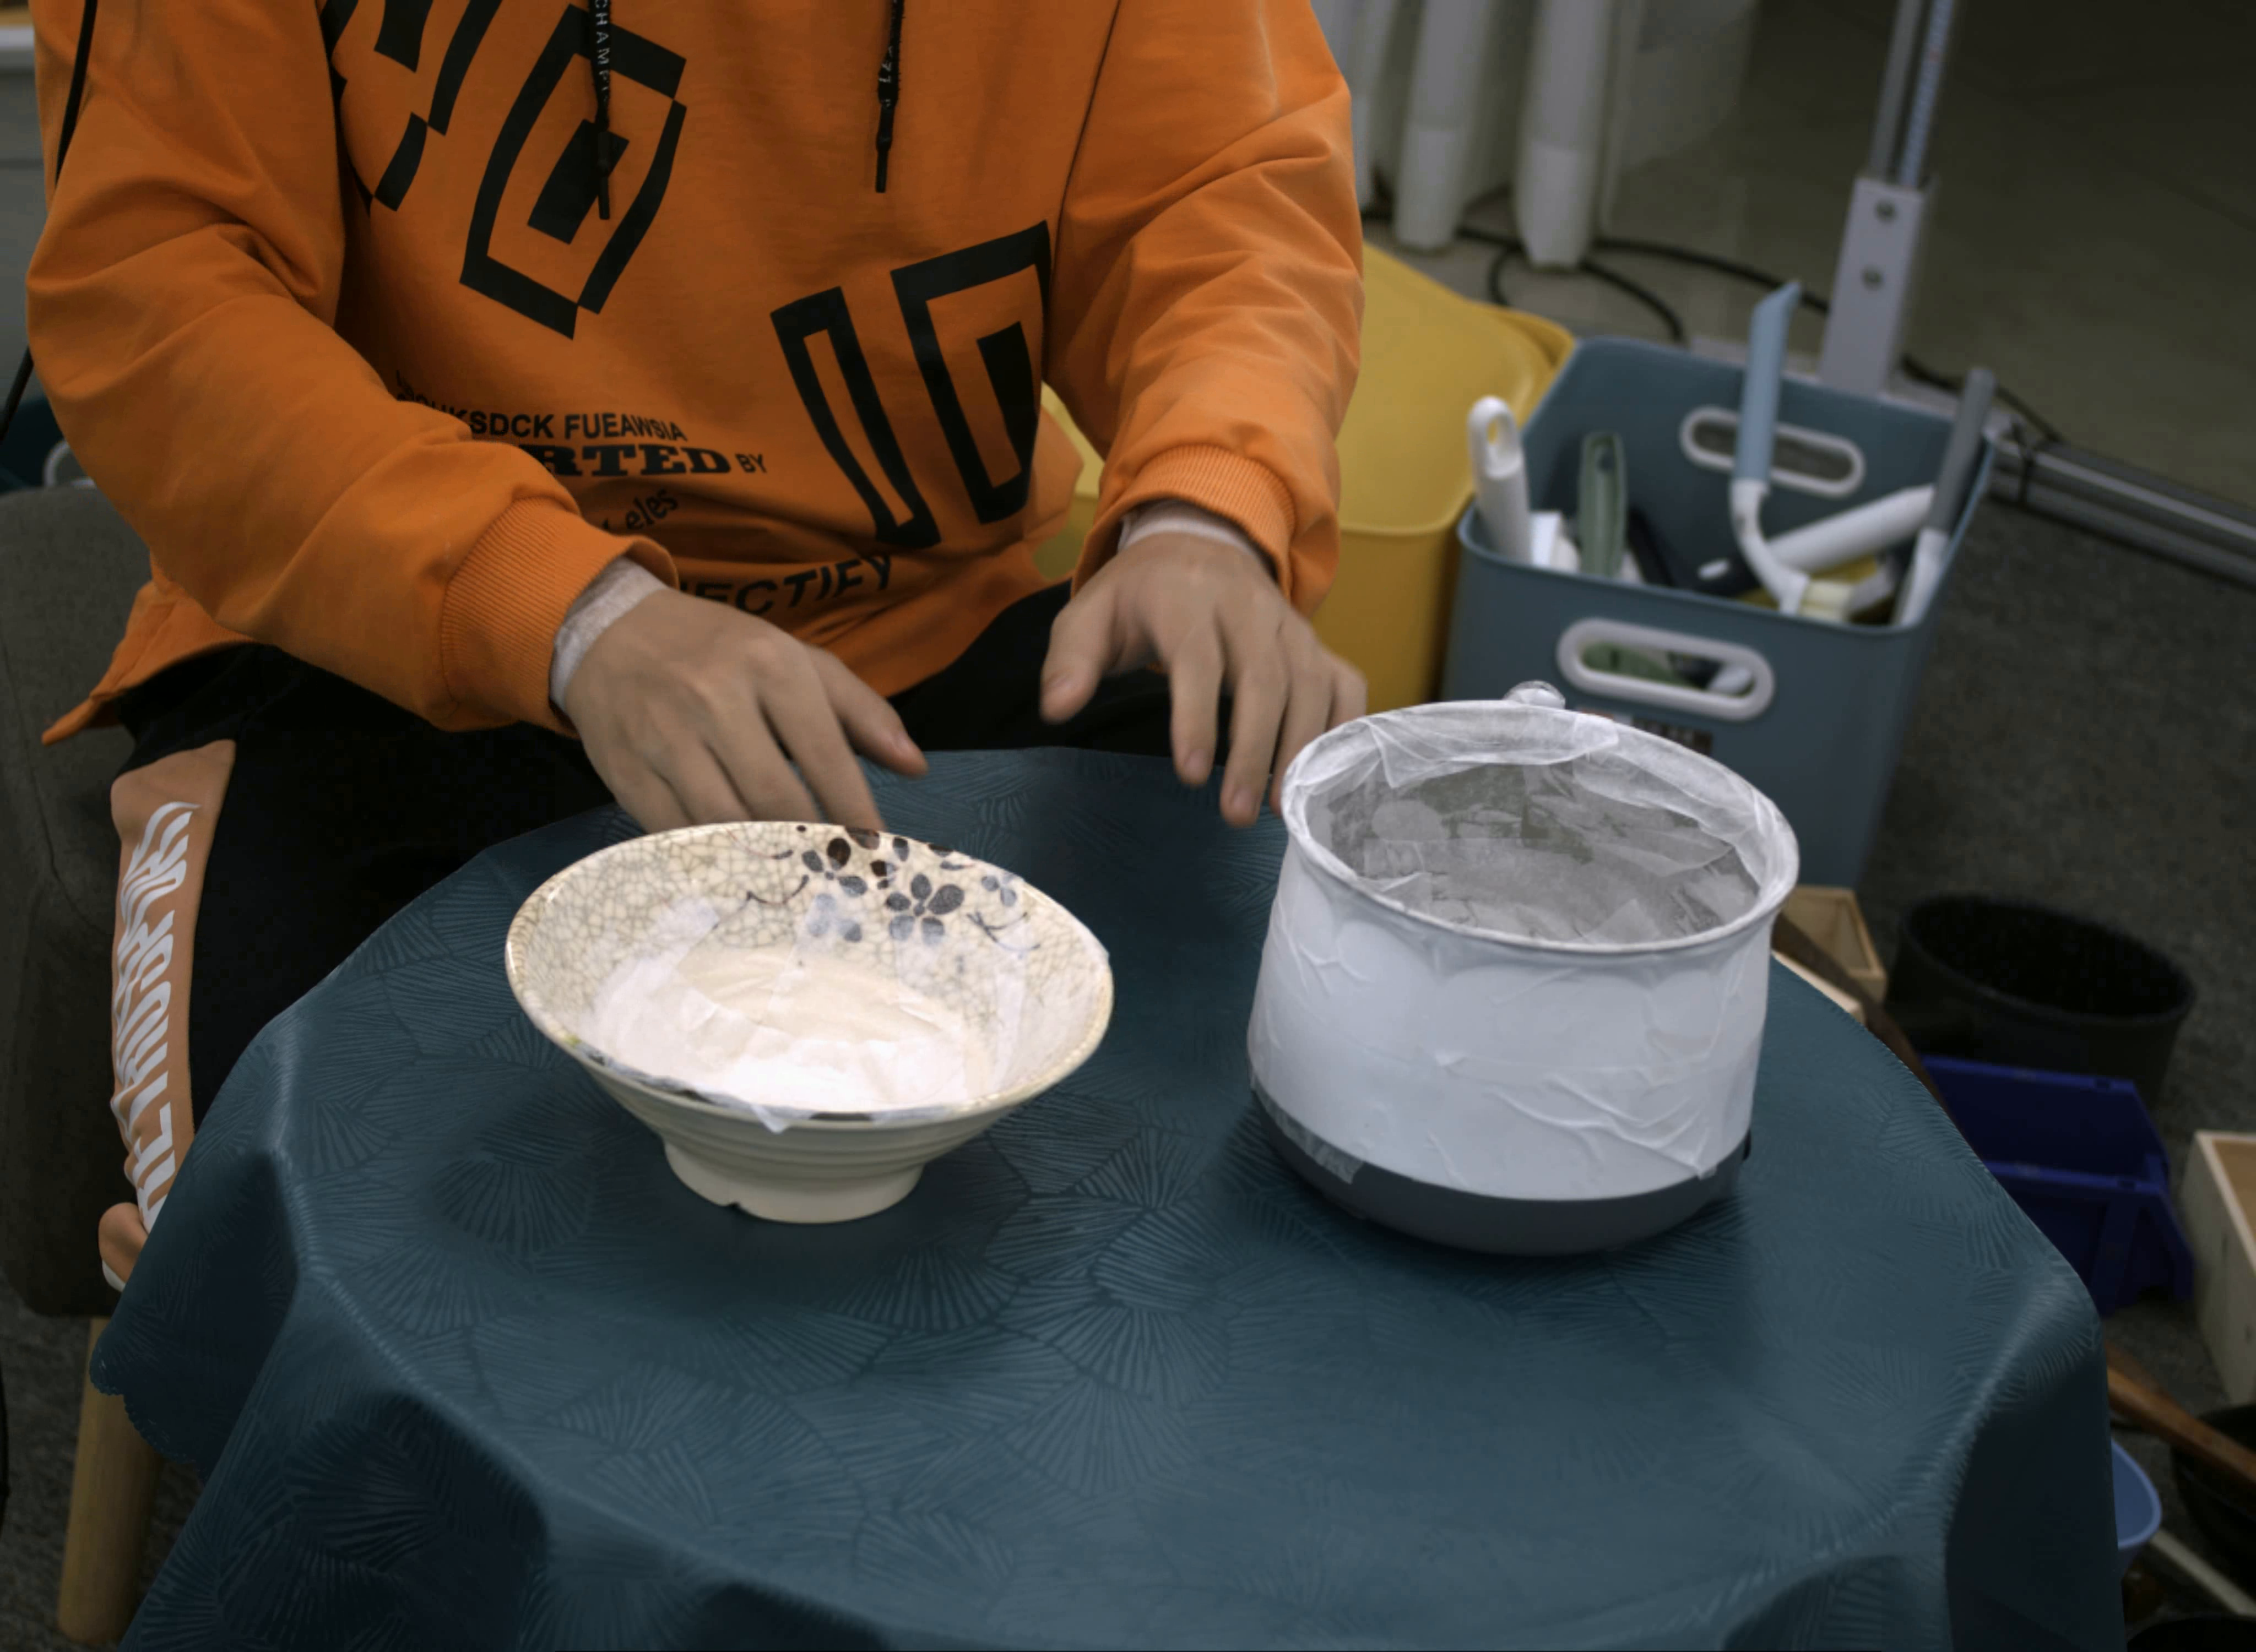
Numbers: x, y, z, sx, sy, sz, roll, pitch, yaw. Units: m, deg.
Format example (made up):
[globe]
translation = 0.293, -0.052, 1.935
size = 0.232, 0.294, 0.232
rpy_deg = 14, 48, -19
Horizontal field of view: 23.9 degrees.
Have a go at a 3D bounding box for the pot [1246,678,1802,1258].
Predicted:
[pot]
translation = 0.132, 0.041, 1.843
size = 0.178, 0.136, 0.235
rpy_deg = 7, 27, -1

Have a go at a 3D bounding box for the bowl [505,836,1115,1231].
[bowl]
translation = -0.108, 0.081, 1.781
size = 0.203, 0.078, 0.205
rpy_deg = 4, 25, -2
